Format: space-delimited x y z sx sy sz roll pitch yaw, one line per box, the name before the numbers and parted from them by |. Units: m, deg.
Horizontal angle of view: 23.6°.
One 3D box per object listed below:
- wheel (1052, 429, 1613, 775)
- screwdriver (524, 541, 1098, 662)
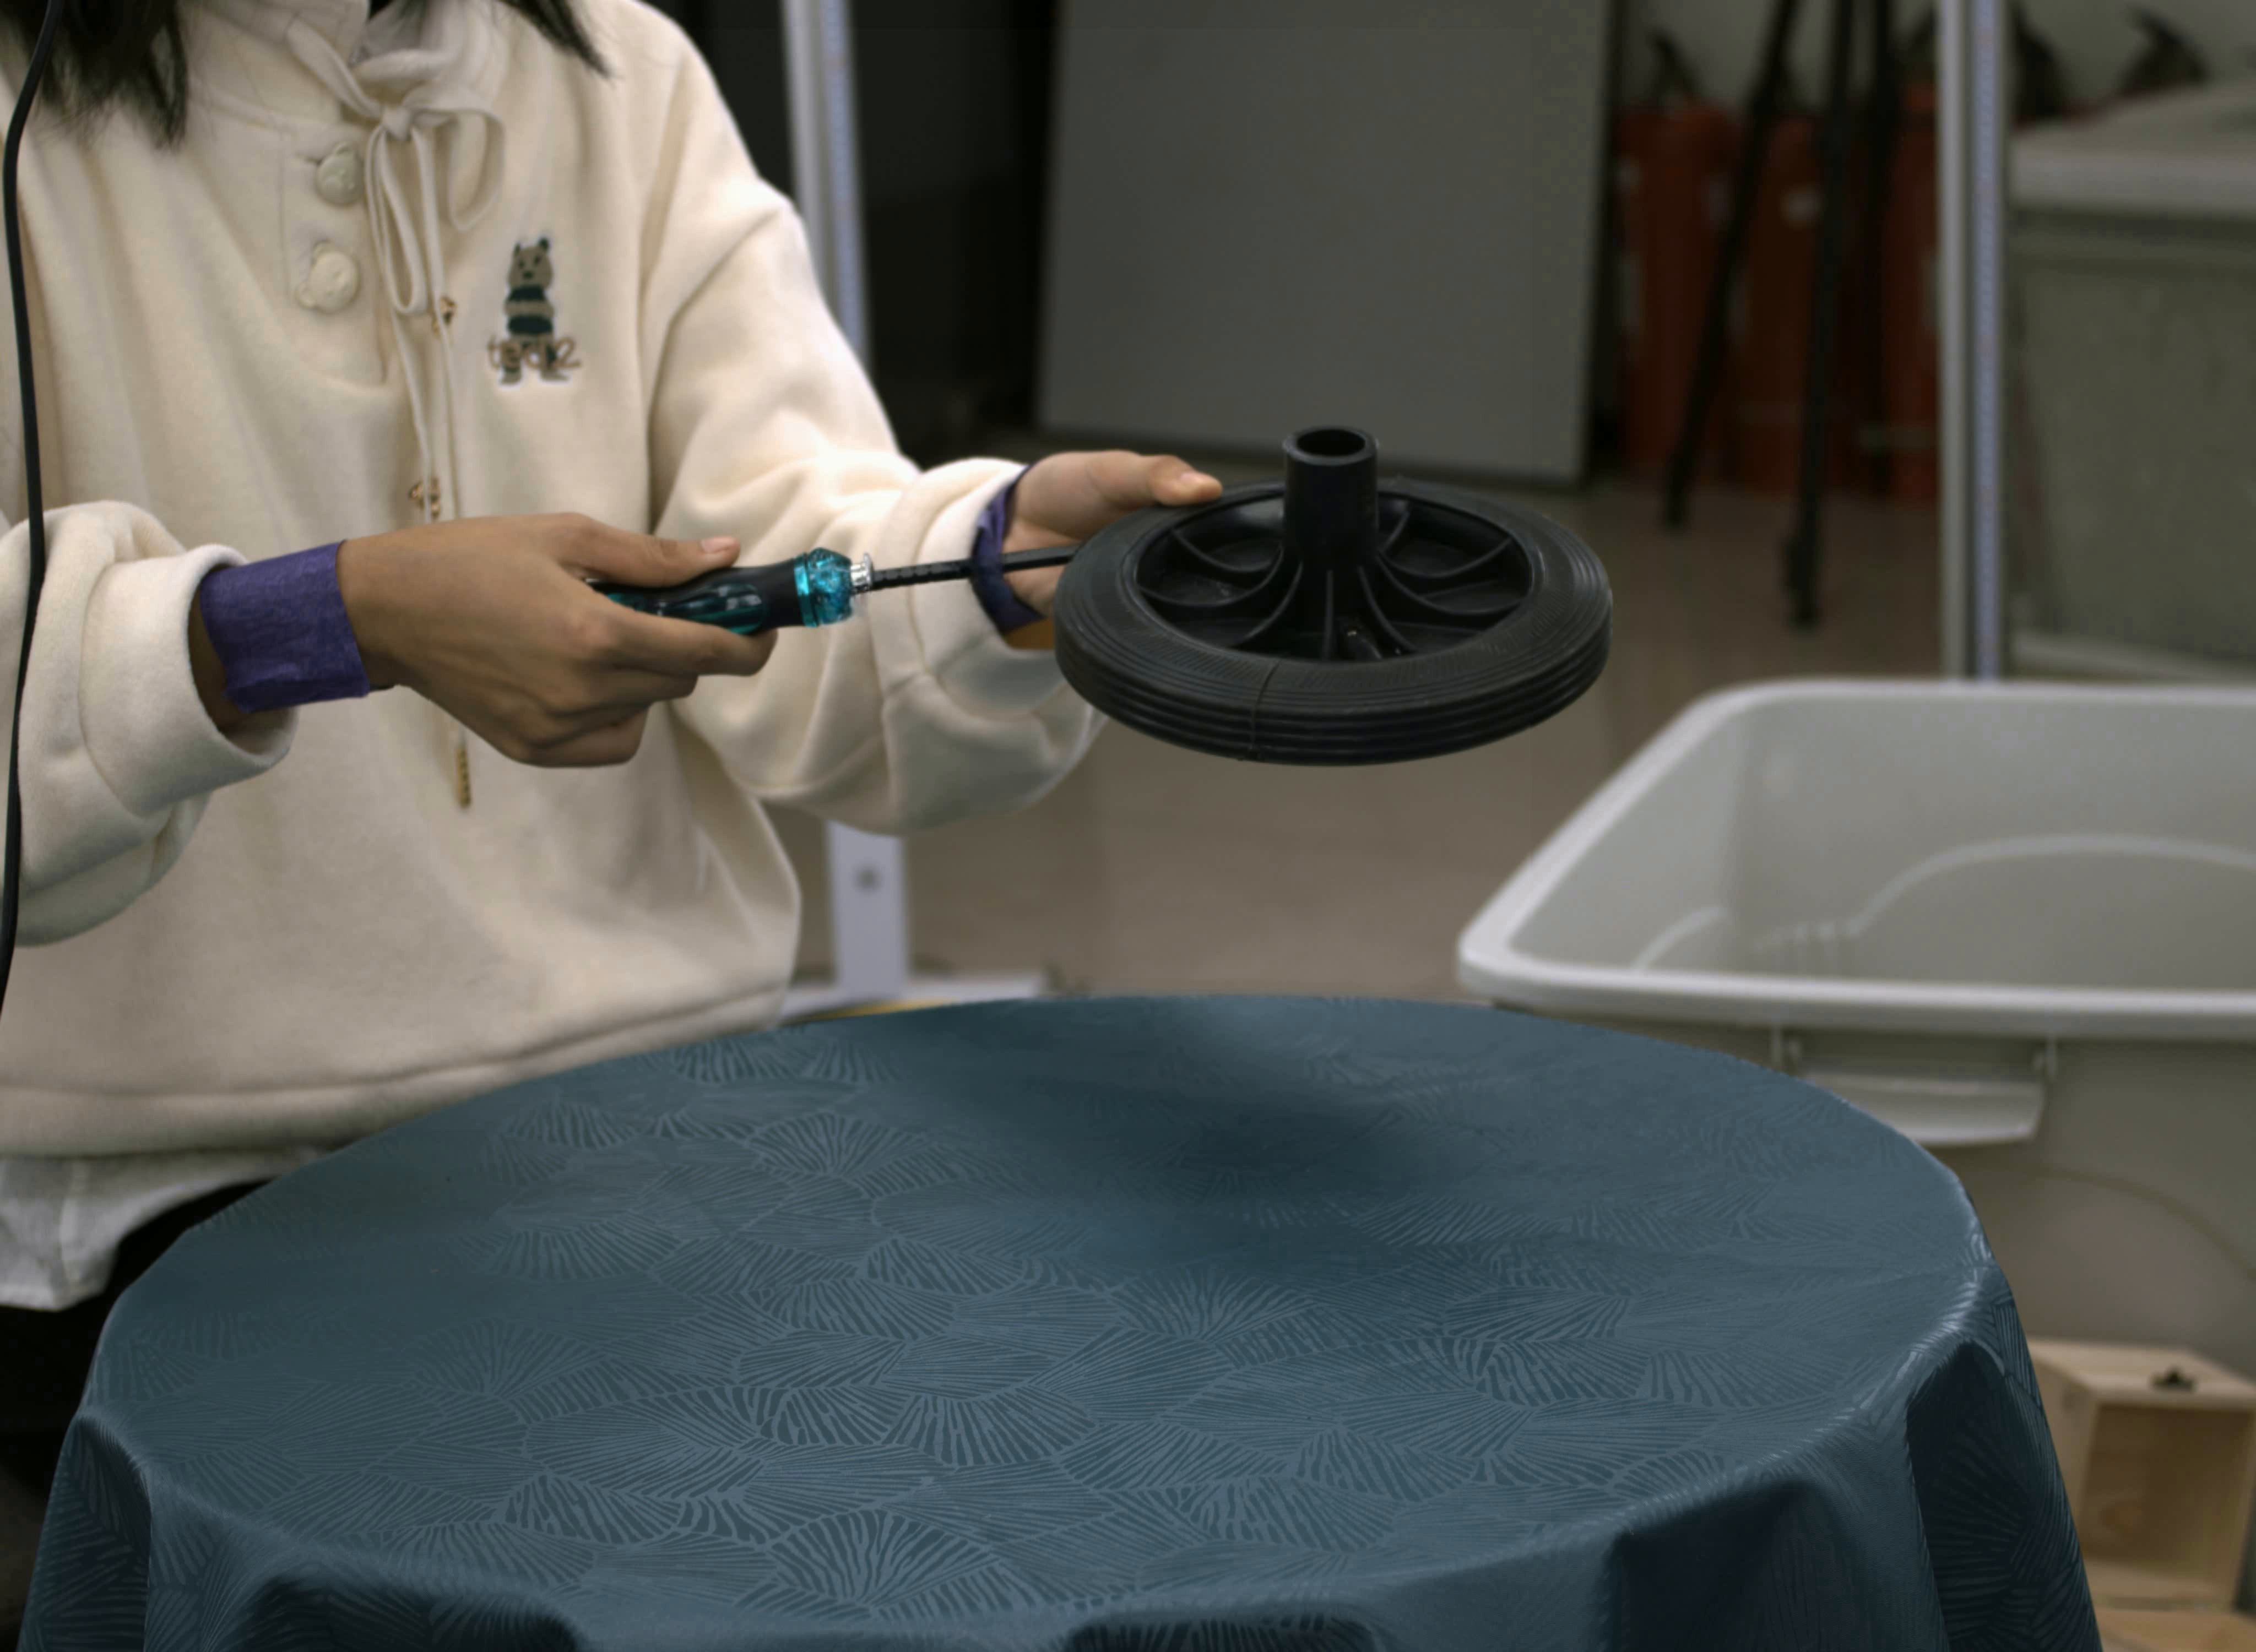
wheel | 0.068 -0.088 1.789 0.184 0.080 0.192 -21 35 -30
screwdriver | -0.103 -0.079 1.769 0.187 0.034 0.034 -8 13 1
